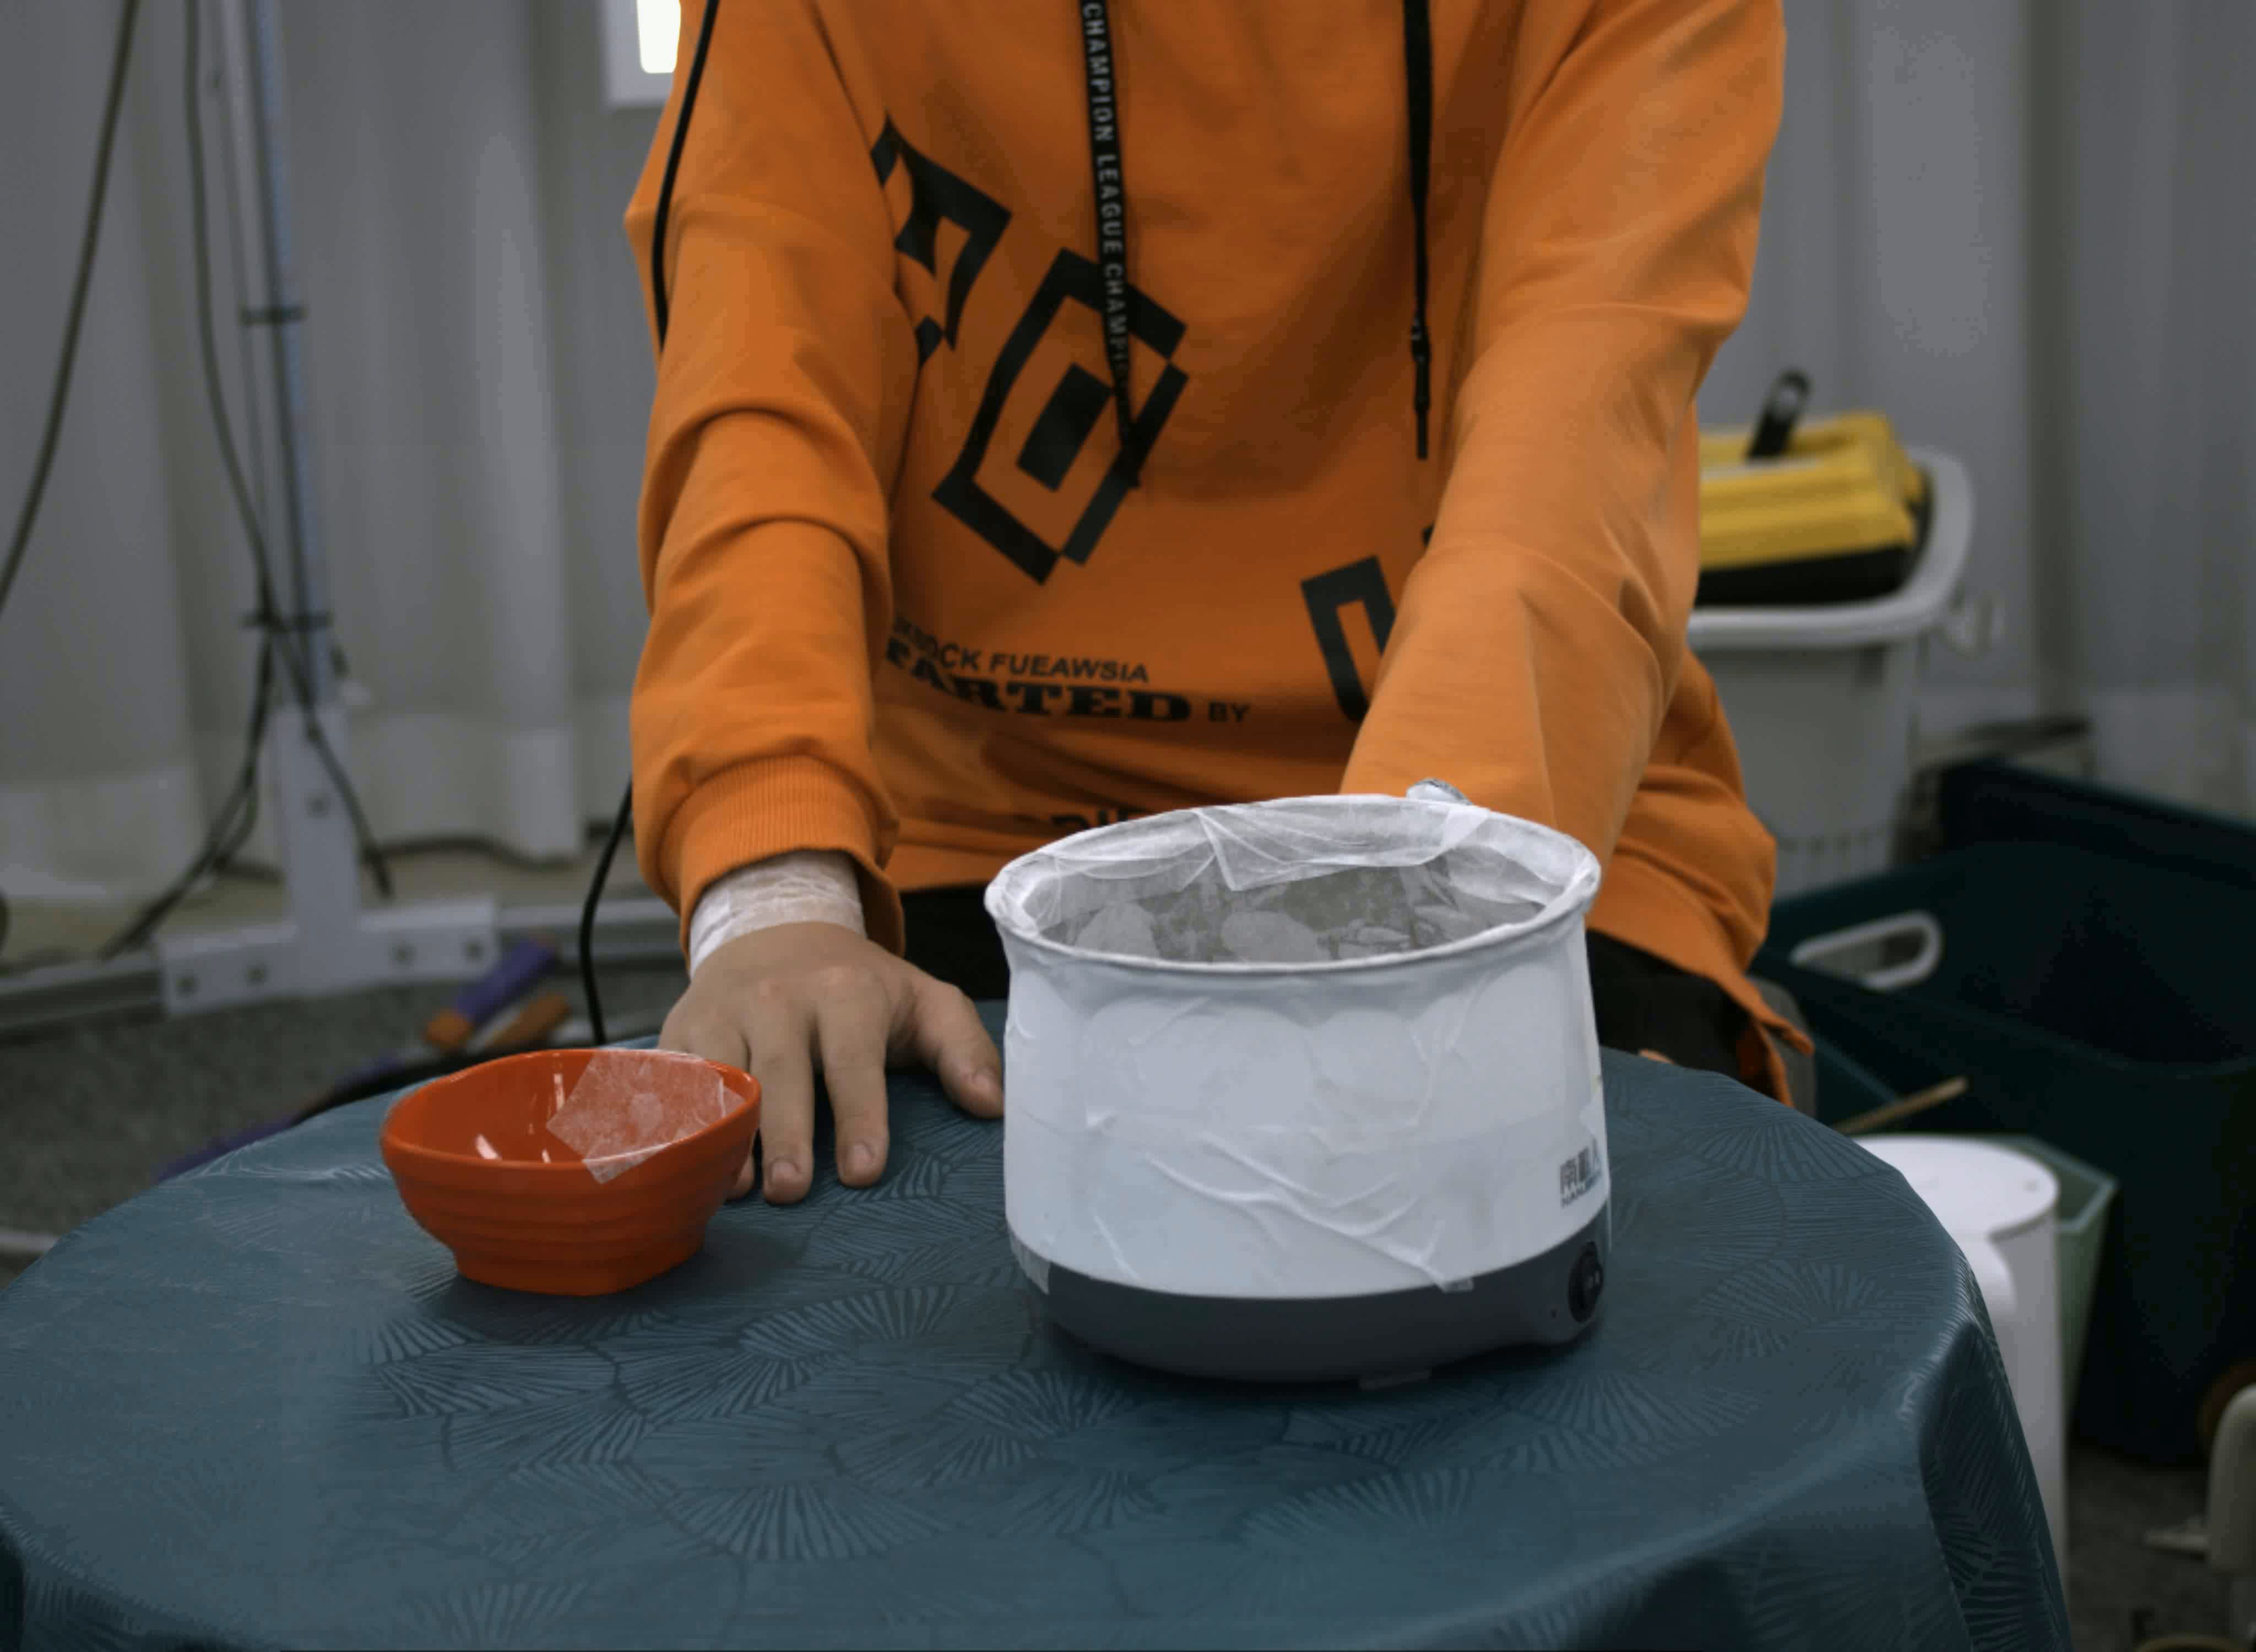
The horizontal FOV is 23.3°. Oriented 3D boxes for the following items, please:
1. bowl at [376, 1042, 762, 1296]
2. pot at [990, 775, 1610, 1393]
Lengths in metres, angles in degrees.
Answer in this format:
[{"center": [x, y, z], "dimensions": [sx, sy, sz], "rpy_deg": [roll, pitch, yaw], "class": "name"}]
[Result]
[{"center": [-0.168, 0.108, 1.676], "dimensions": [0.118, 0.051, 0.120], "rpy_deg": [-5, 16, 1], "class": "bowl"}, {"center": [0.063, 0.069, 1.610], "dimensions": [0.179, 0.136, 0.234], "rpy_deg": [4, 17, 25], "class": "pot"}]
